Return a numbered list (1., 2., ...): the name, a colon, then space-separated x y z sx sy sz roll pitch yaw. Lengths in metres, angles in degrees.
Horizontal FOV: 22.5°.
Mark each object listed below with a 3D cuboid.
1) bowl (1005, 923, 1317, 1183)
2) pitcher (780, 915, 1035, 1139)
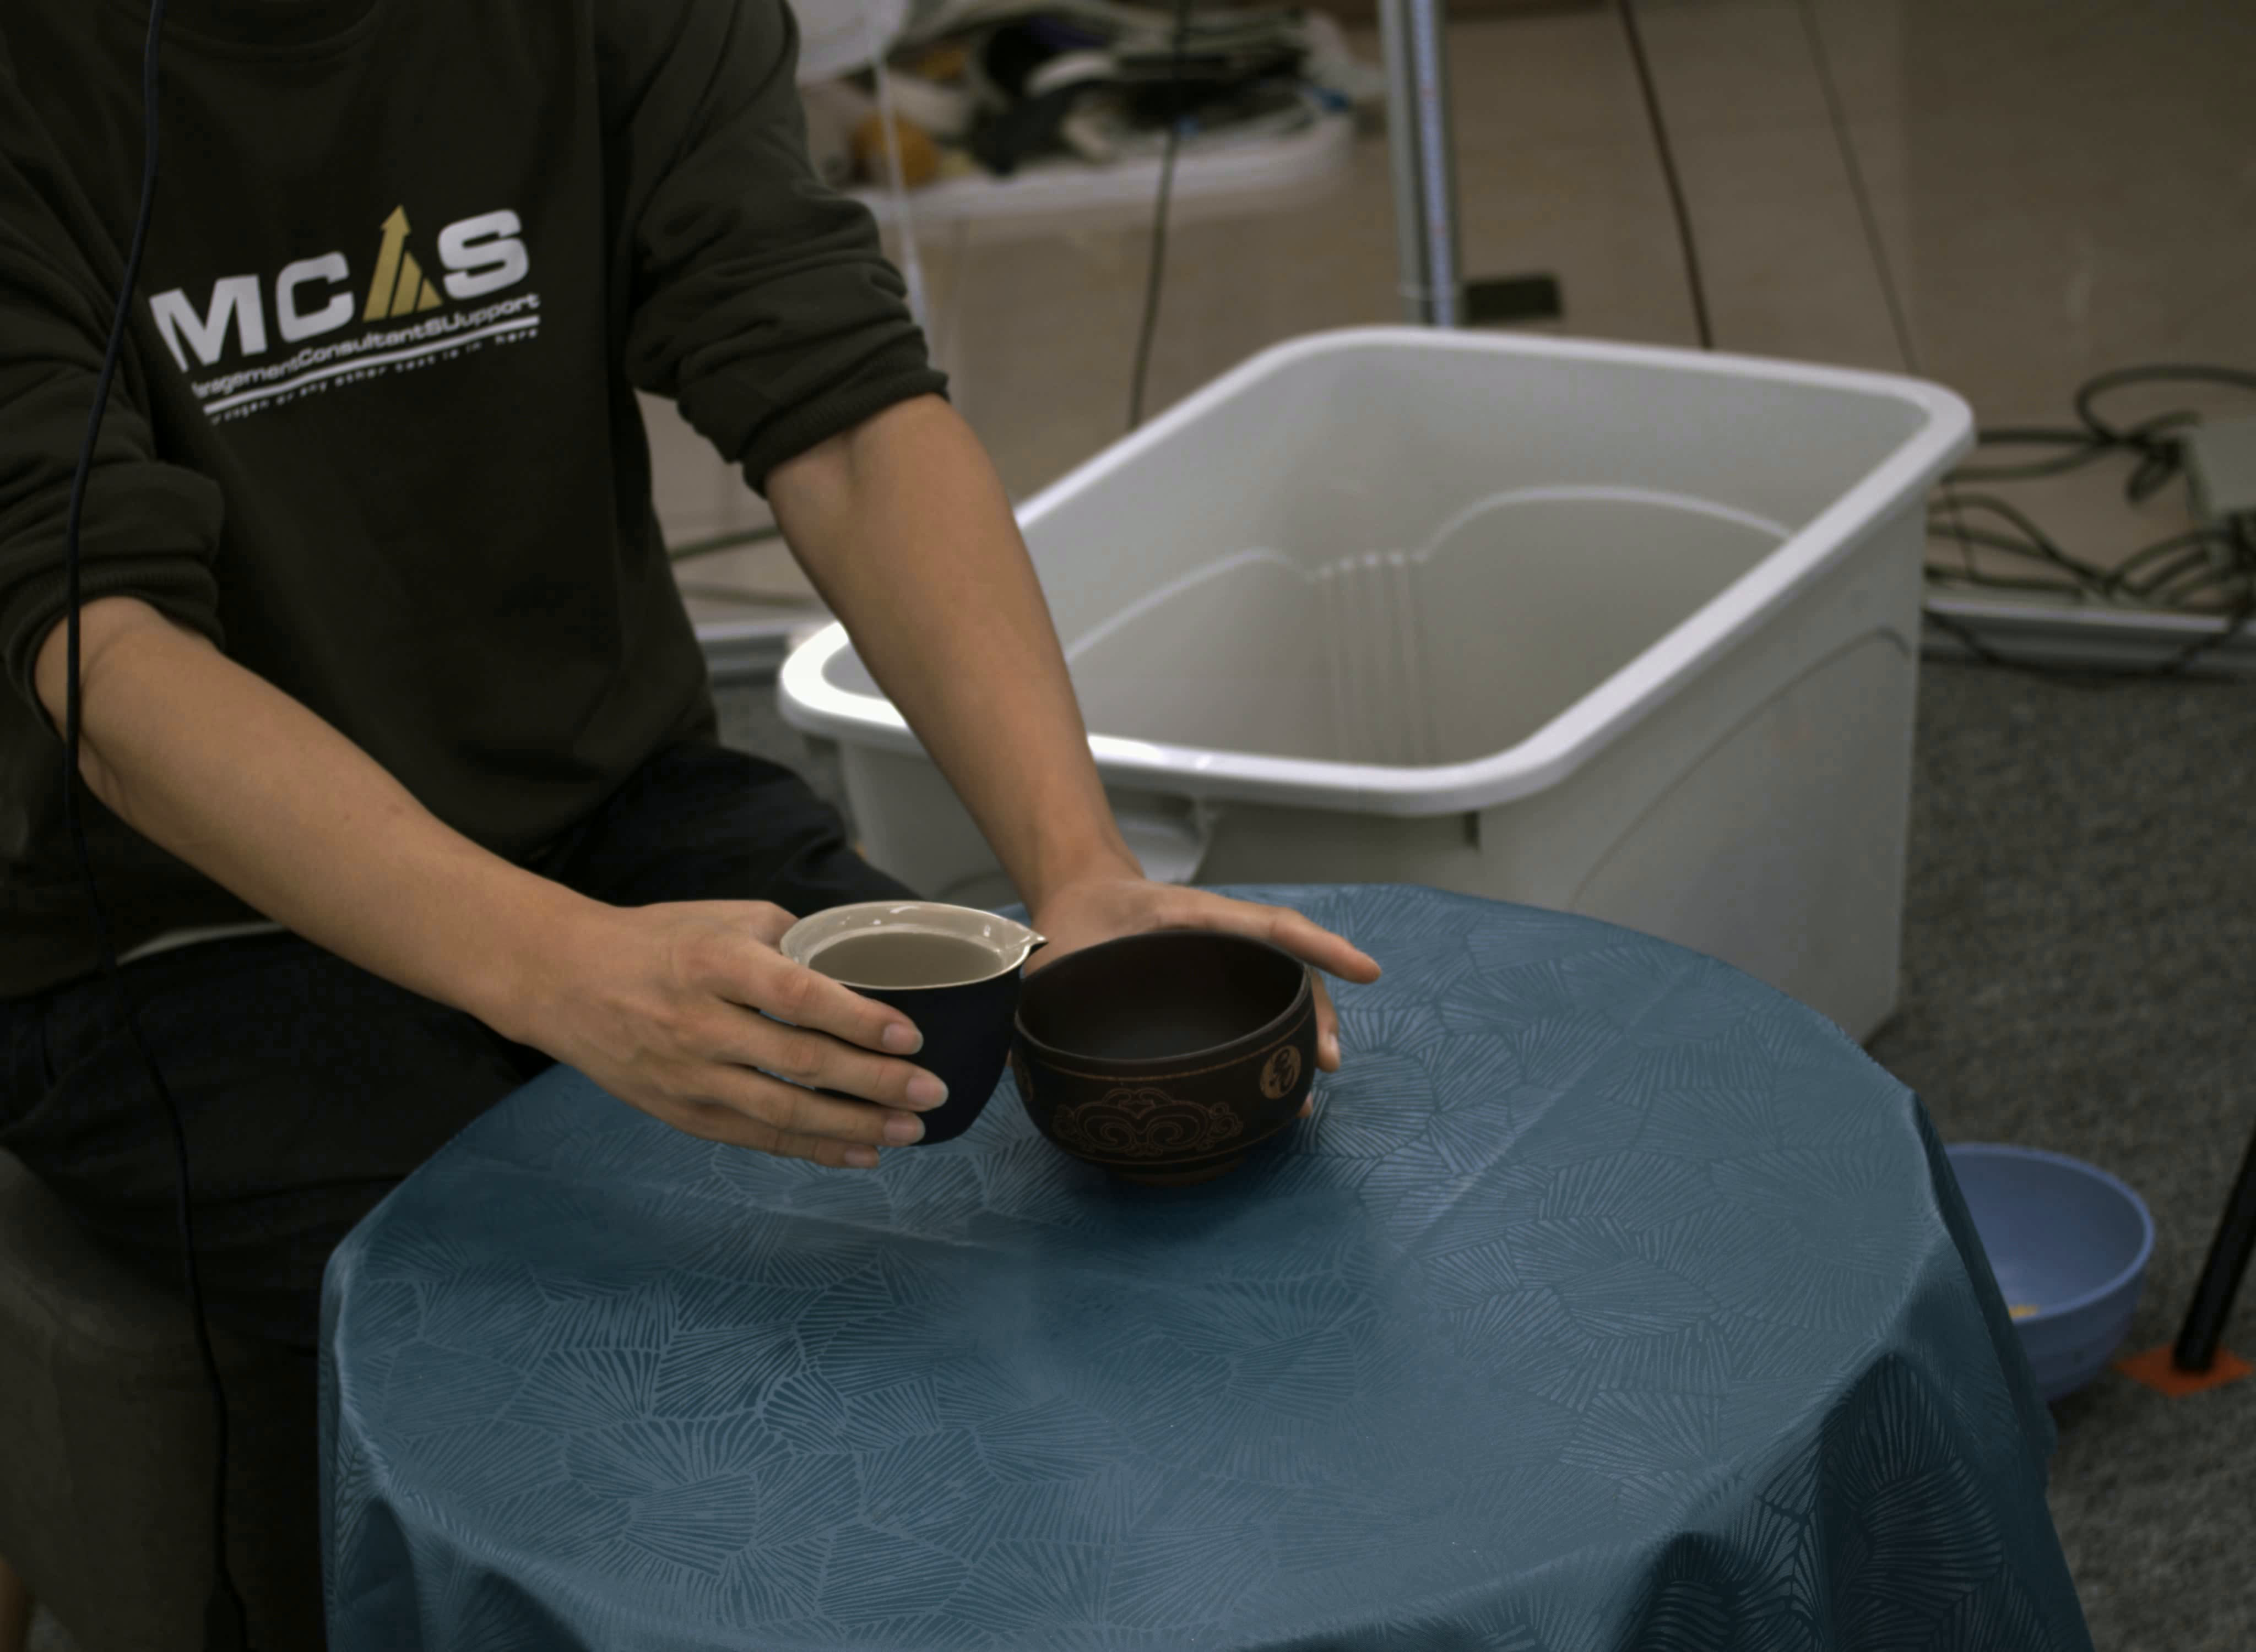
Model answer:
1. bowl: 0.014 0.092 2.157 0.118 0.071 0.116 -5 27 3
2. pitcher: -0.081 0.073 2.089 0.096 0.072 0.083 -4 19 -12
